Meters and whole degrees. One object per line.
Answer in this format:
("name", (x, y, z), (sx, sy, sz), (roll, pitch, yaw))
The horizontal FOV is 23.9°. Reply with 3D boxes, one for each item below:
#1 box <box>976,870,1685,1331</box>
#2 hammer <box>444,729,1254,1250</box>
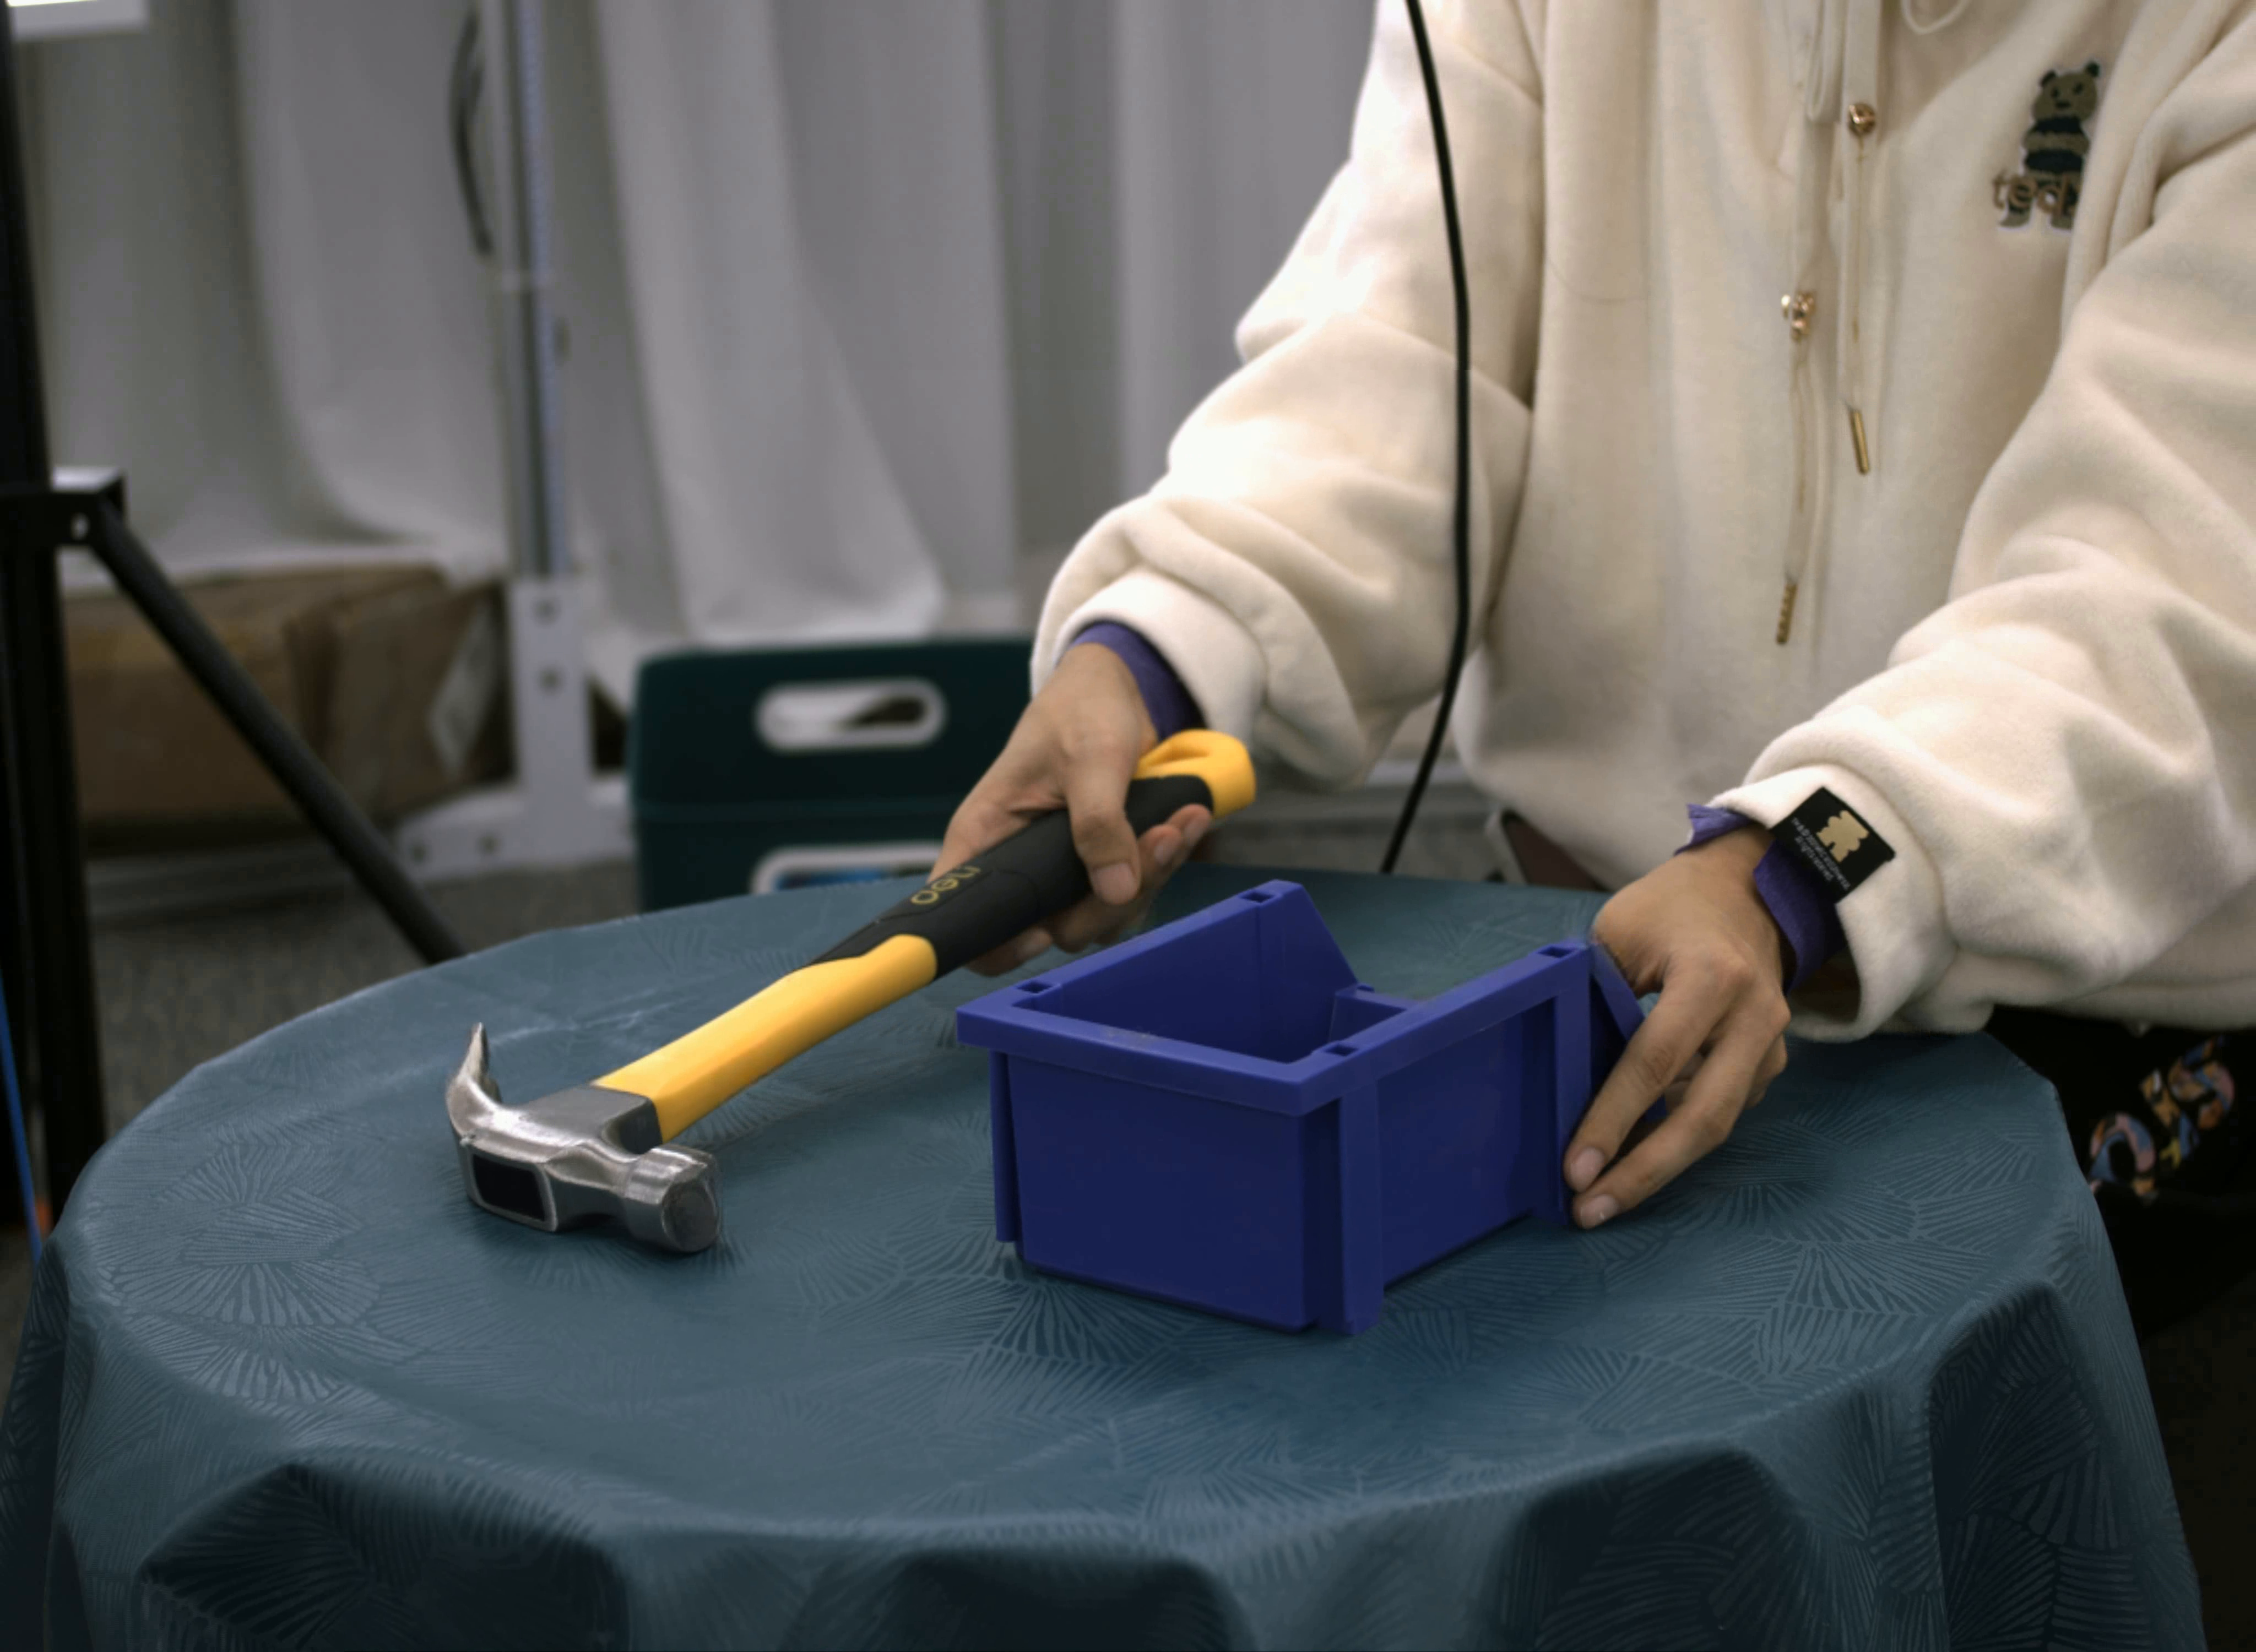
("box", (0.059, 0.074, 1.520), (0.127, 0.082, 0.175), (10, 22, 39))
("hammer", (-0.076, 0.041, 1.663), (0.134, 0.032, 0.332), (9, 28, 42))
